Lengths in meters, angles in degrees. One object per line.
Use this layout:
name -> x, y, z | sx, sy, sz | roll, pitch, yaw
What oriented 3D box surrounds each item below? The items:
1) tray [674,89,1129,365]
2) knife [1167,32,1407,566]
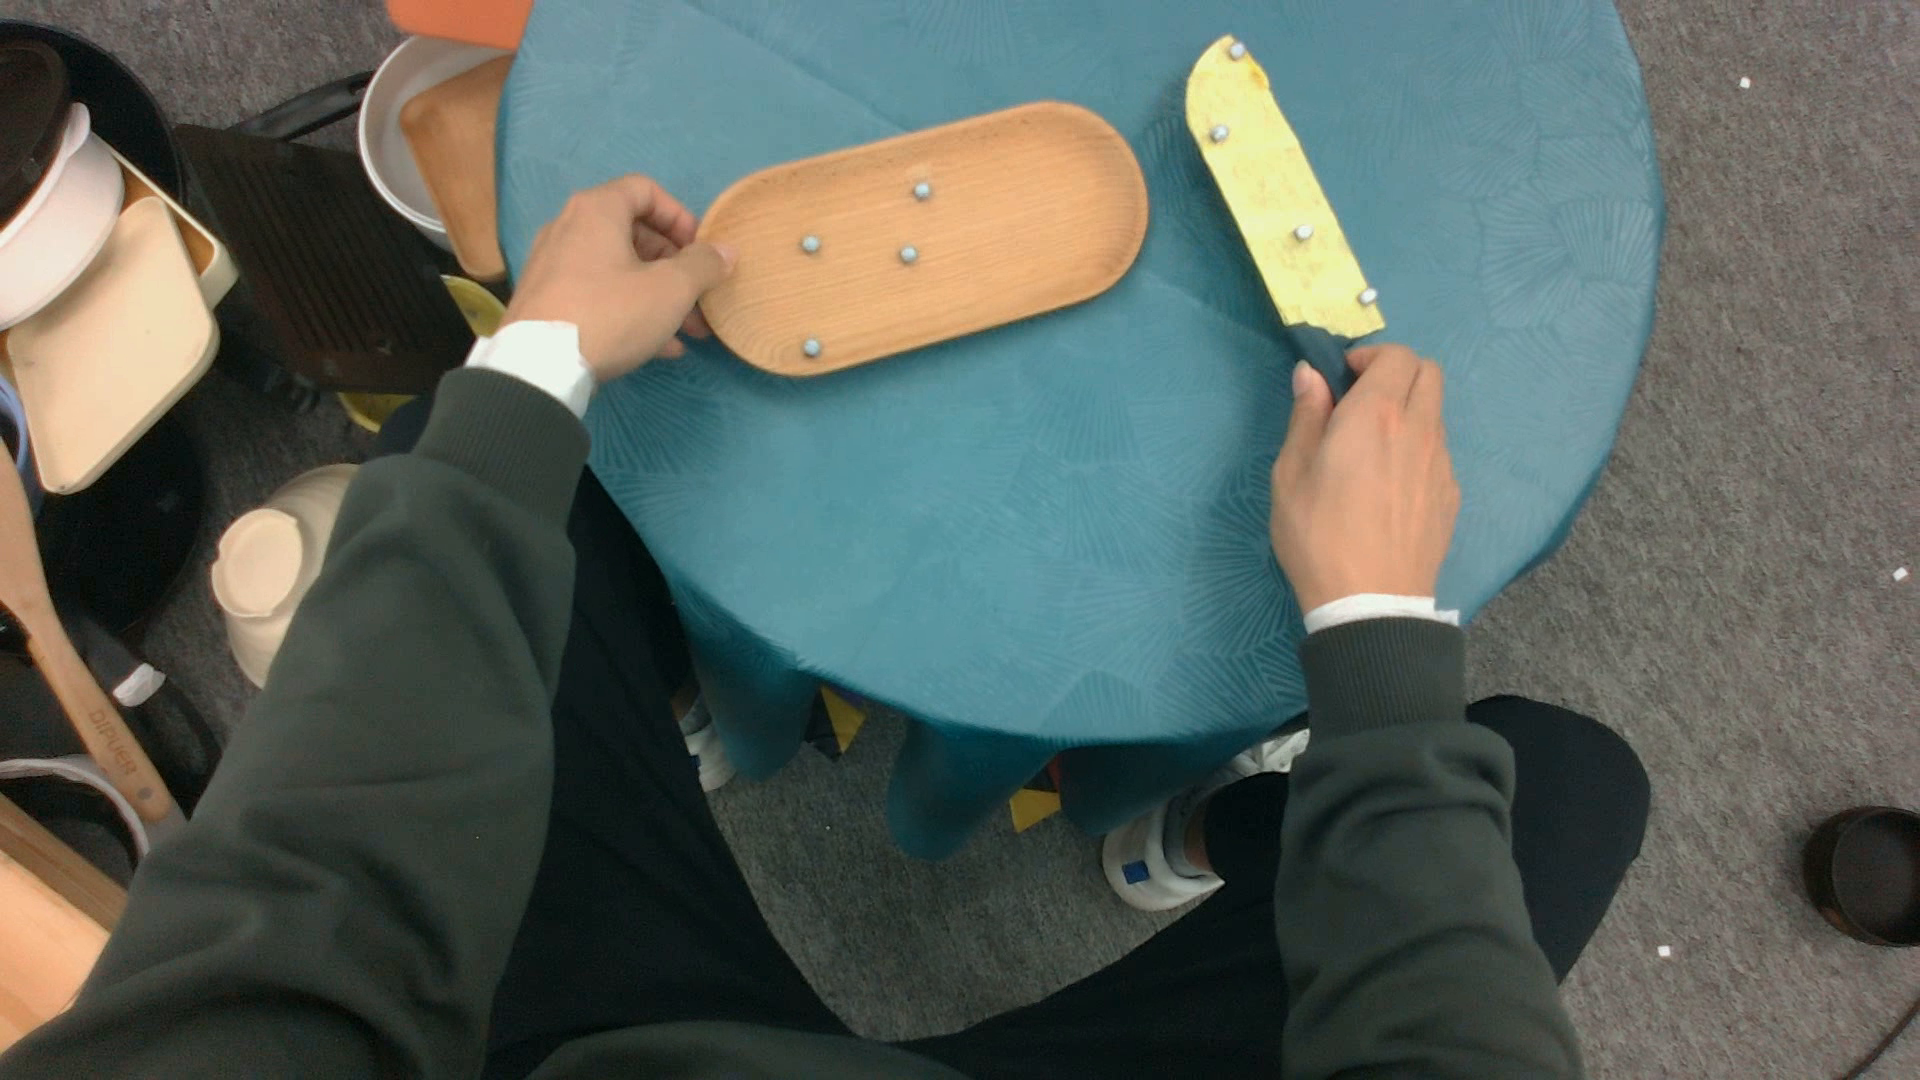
tray -> -0.025, -0.154, 0.677 | 0.231, 0.020, 0.101 | -18, 94, -14
knife -> 0.166, -0.126, 0.688 | 0.081, 0.027, 0.289 | -14, 81, -39
